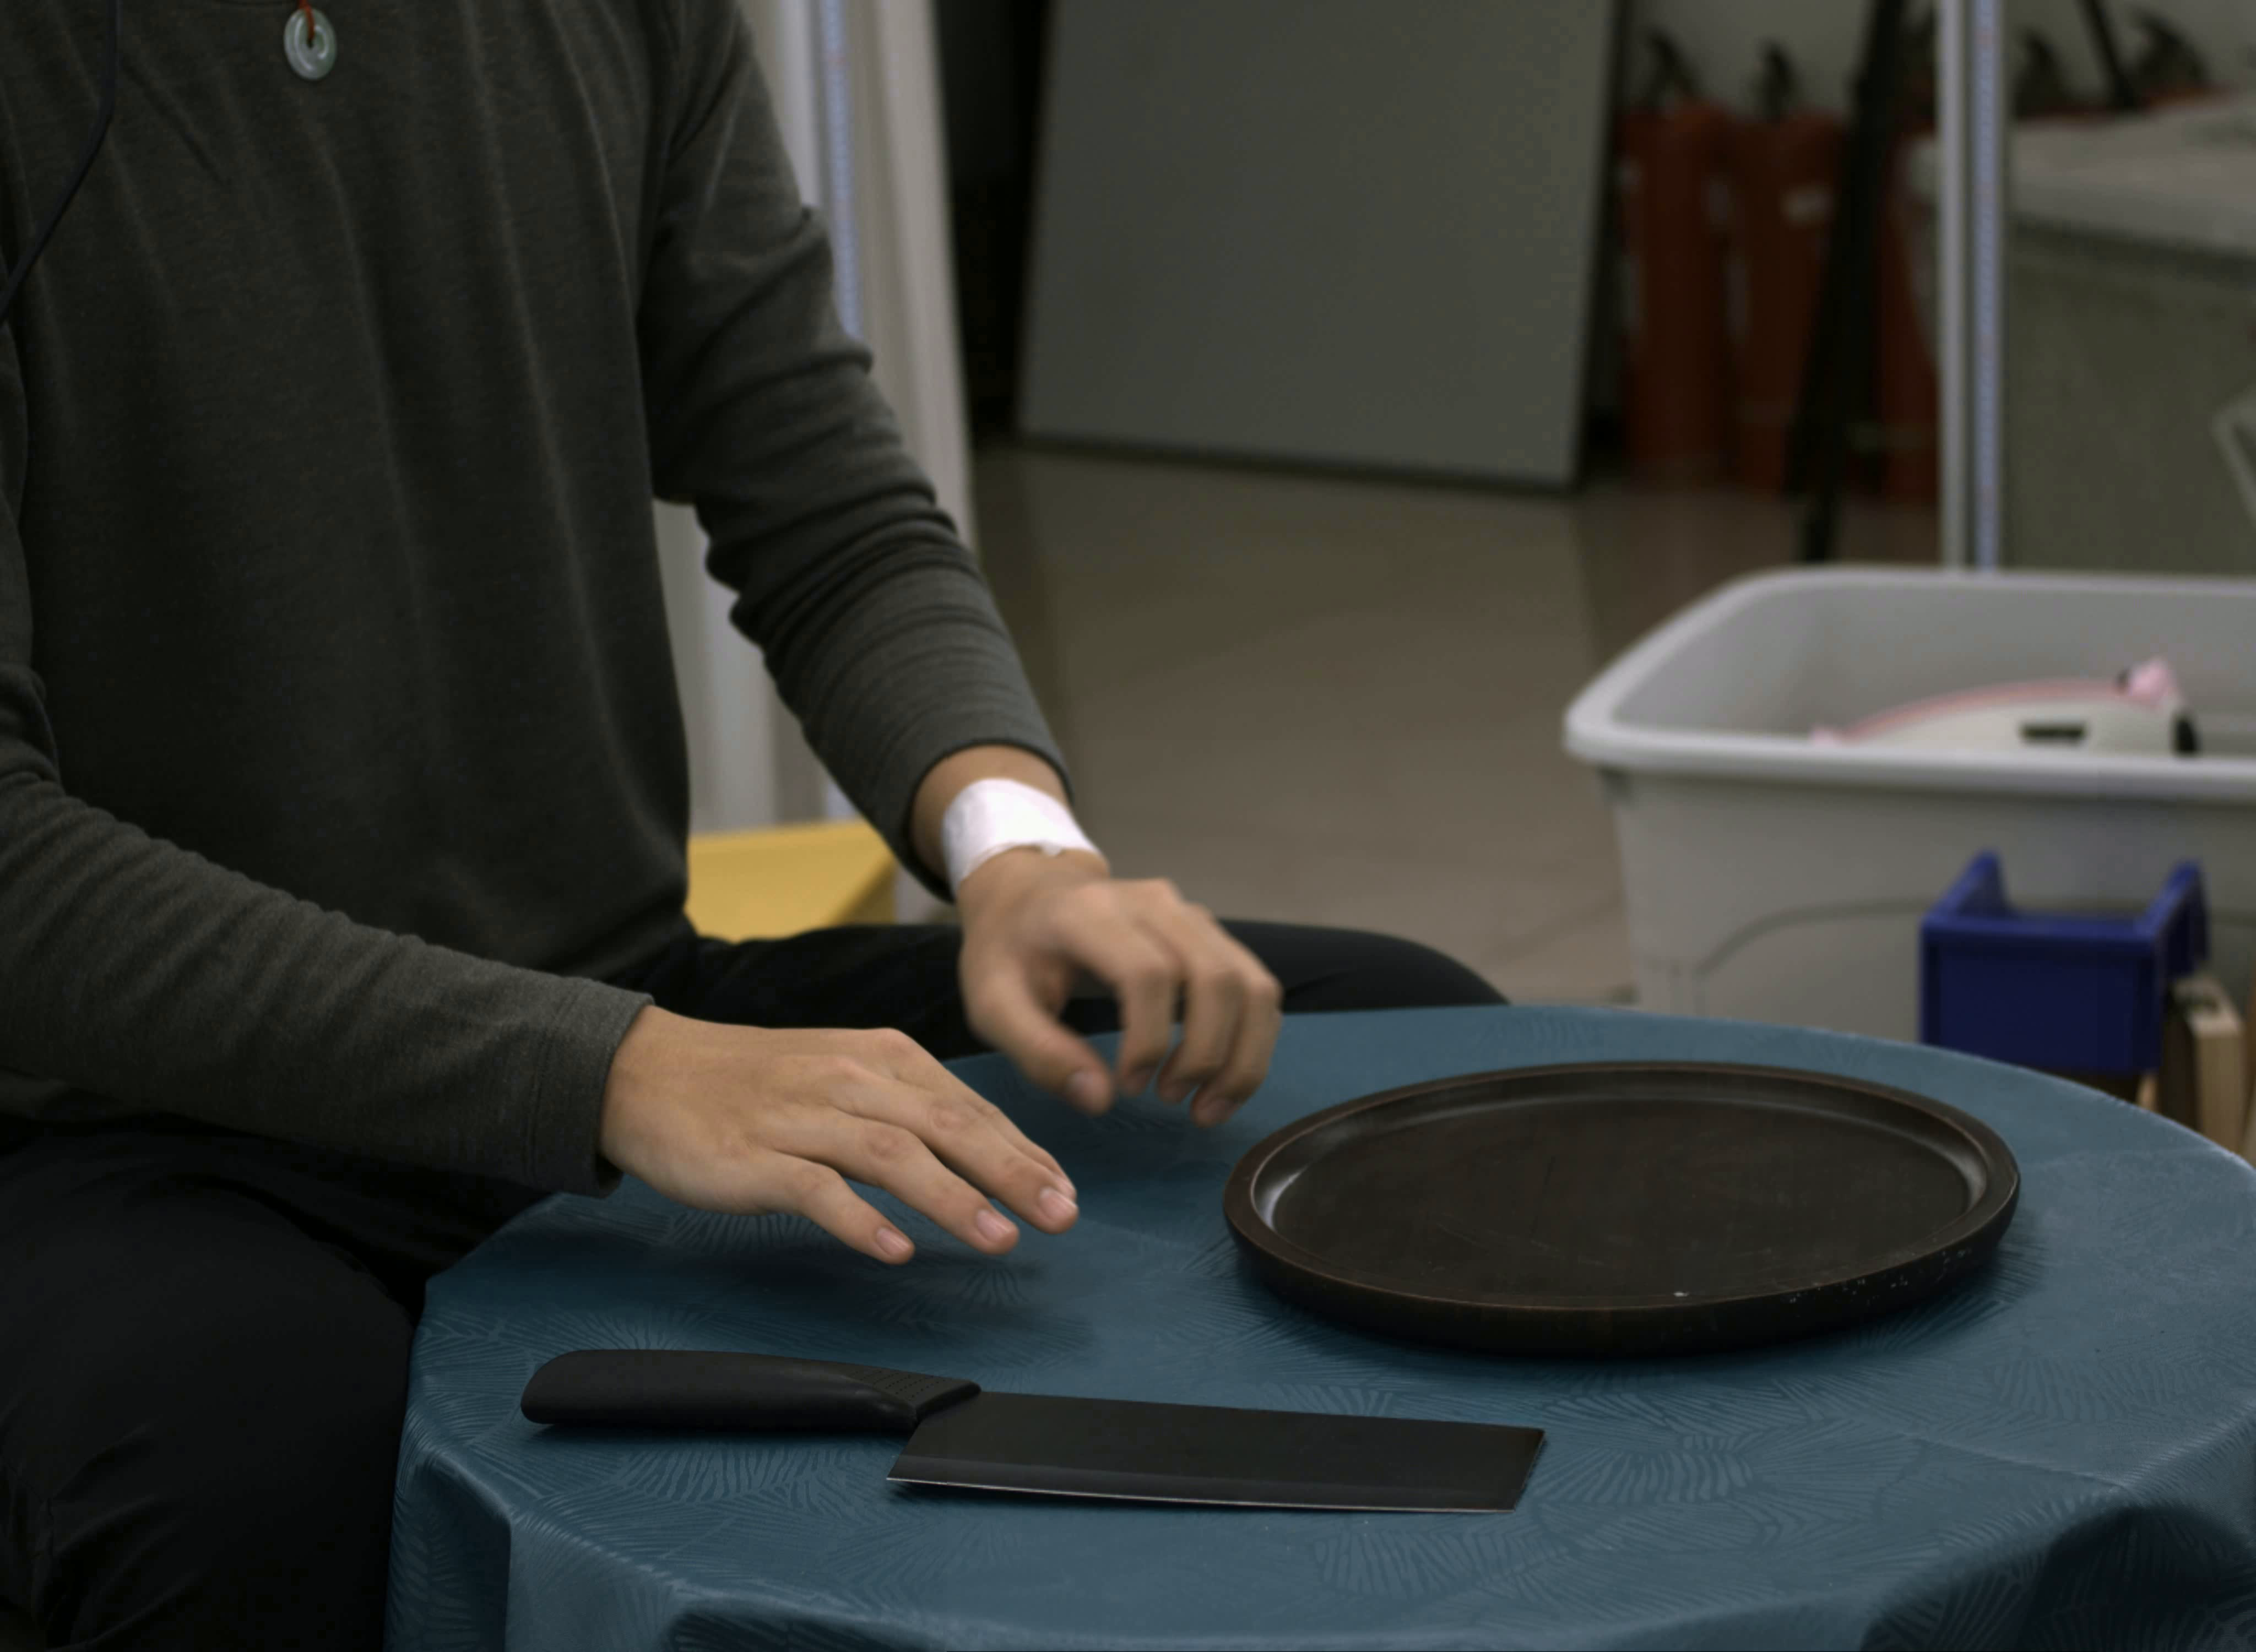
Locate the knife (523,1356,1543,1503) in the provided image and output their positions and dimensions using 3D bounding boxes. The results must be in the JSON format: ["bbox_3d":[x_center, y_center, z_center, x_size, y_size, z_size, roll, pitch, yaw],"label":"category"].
[{"bbox_3d":[-0.030,0.174,1.538,0.301,0.021,0.080,3,16,19],"label":"knife"}]

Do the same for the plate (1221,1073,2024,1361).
[{"bbox_3d":[0.154,0.120,1.688,0.251,0.029,0.255,-4,14,0],"label":"plate"}]
